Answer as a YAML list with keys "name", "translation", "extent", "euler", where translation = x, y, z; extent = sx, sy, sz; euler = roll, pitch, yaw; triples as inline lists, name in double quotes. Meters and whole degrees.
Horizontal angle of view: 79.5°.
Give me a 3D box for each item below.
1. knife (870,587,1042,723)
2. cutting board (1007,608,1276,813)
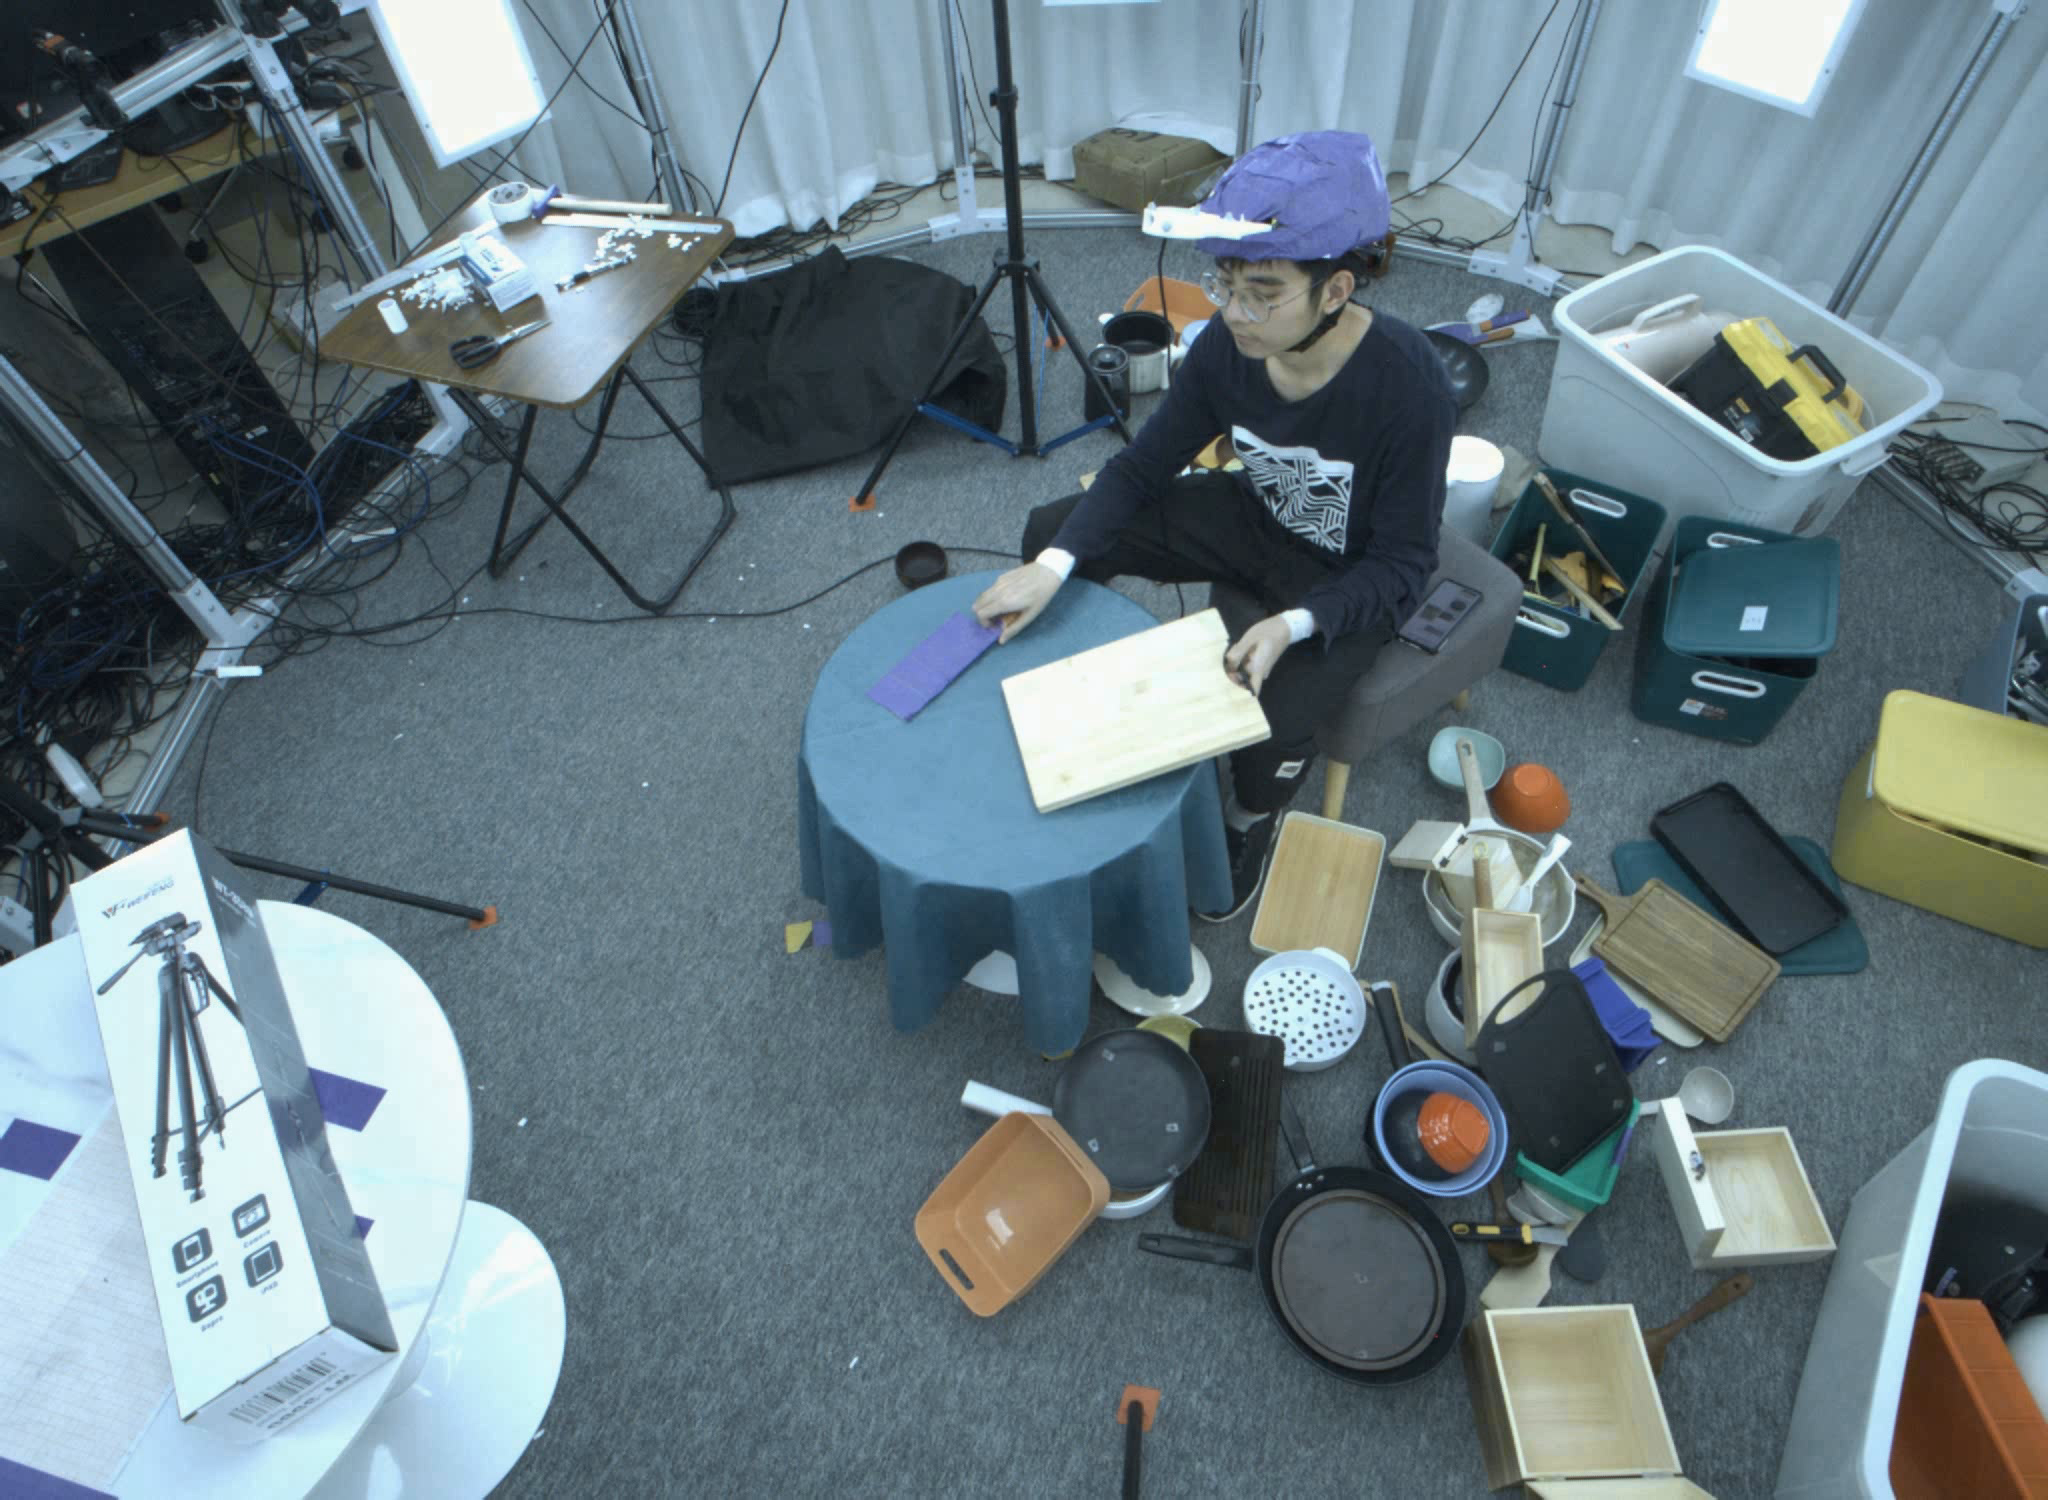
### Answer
- name: "knife"
  translation: [-0.106, -0.165, 1.899]
  extent: [0.102, 0.032, 0.317]
  euler: [34, 62, 24]
- name: "cutting board"
  translation: [0.160, -0.062, 1.786]
  extent: [0.348, 0.024, 0.246]
  euler: [-19, 55, 1]
